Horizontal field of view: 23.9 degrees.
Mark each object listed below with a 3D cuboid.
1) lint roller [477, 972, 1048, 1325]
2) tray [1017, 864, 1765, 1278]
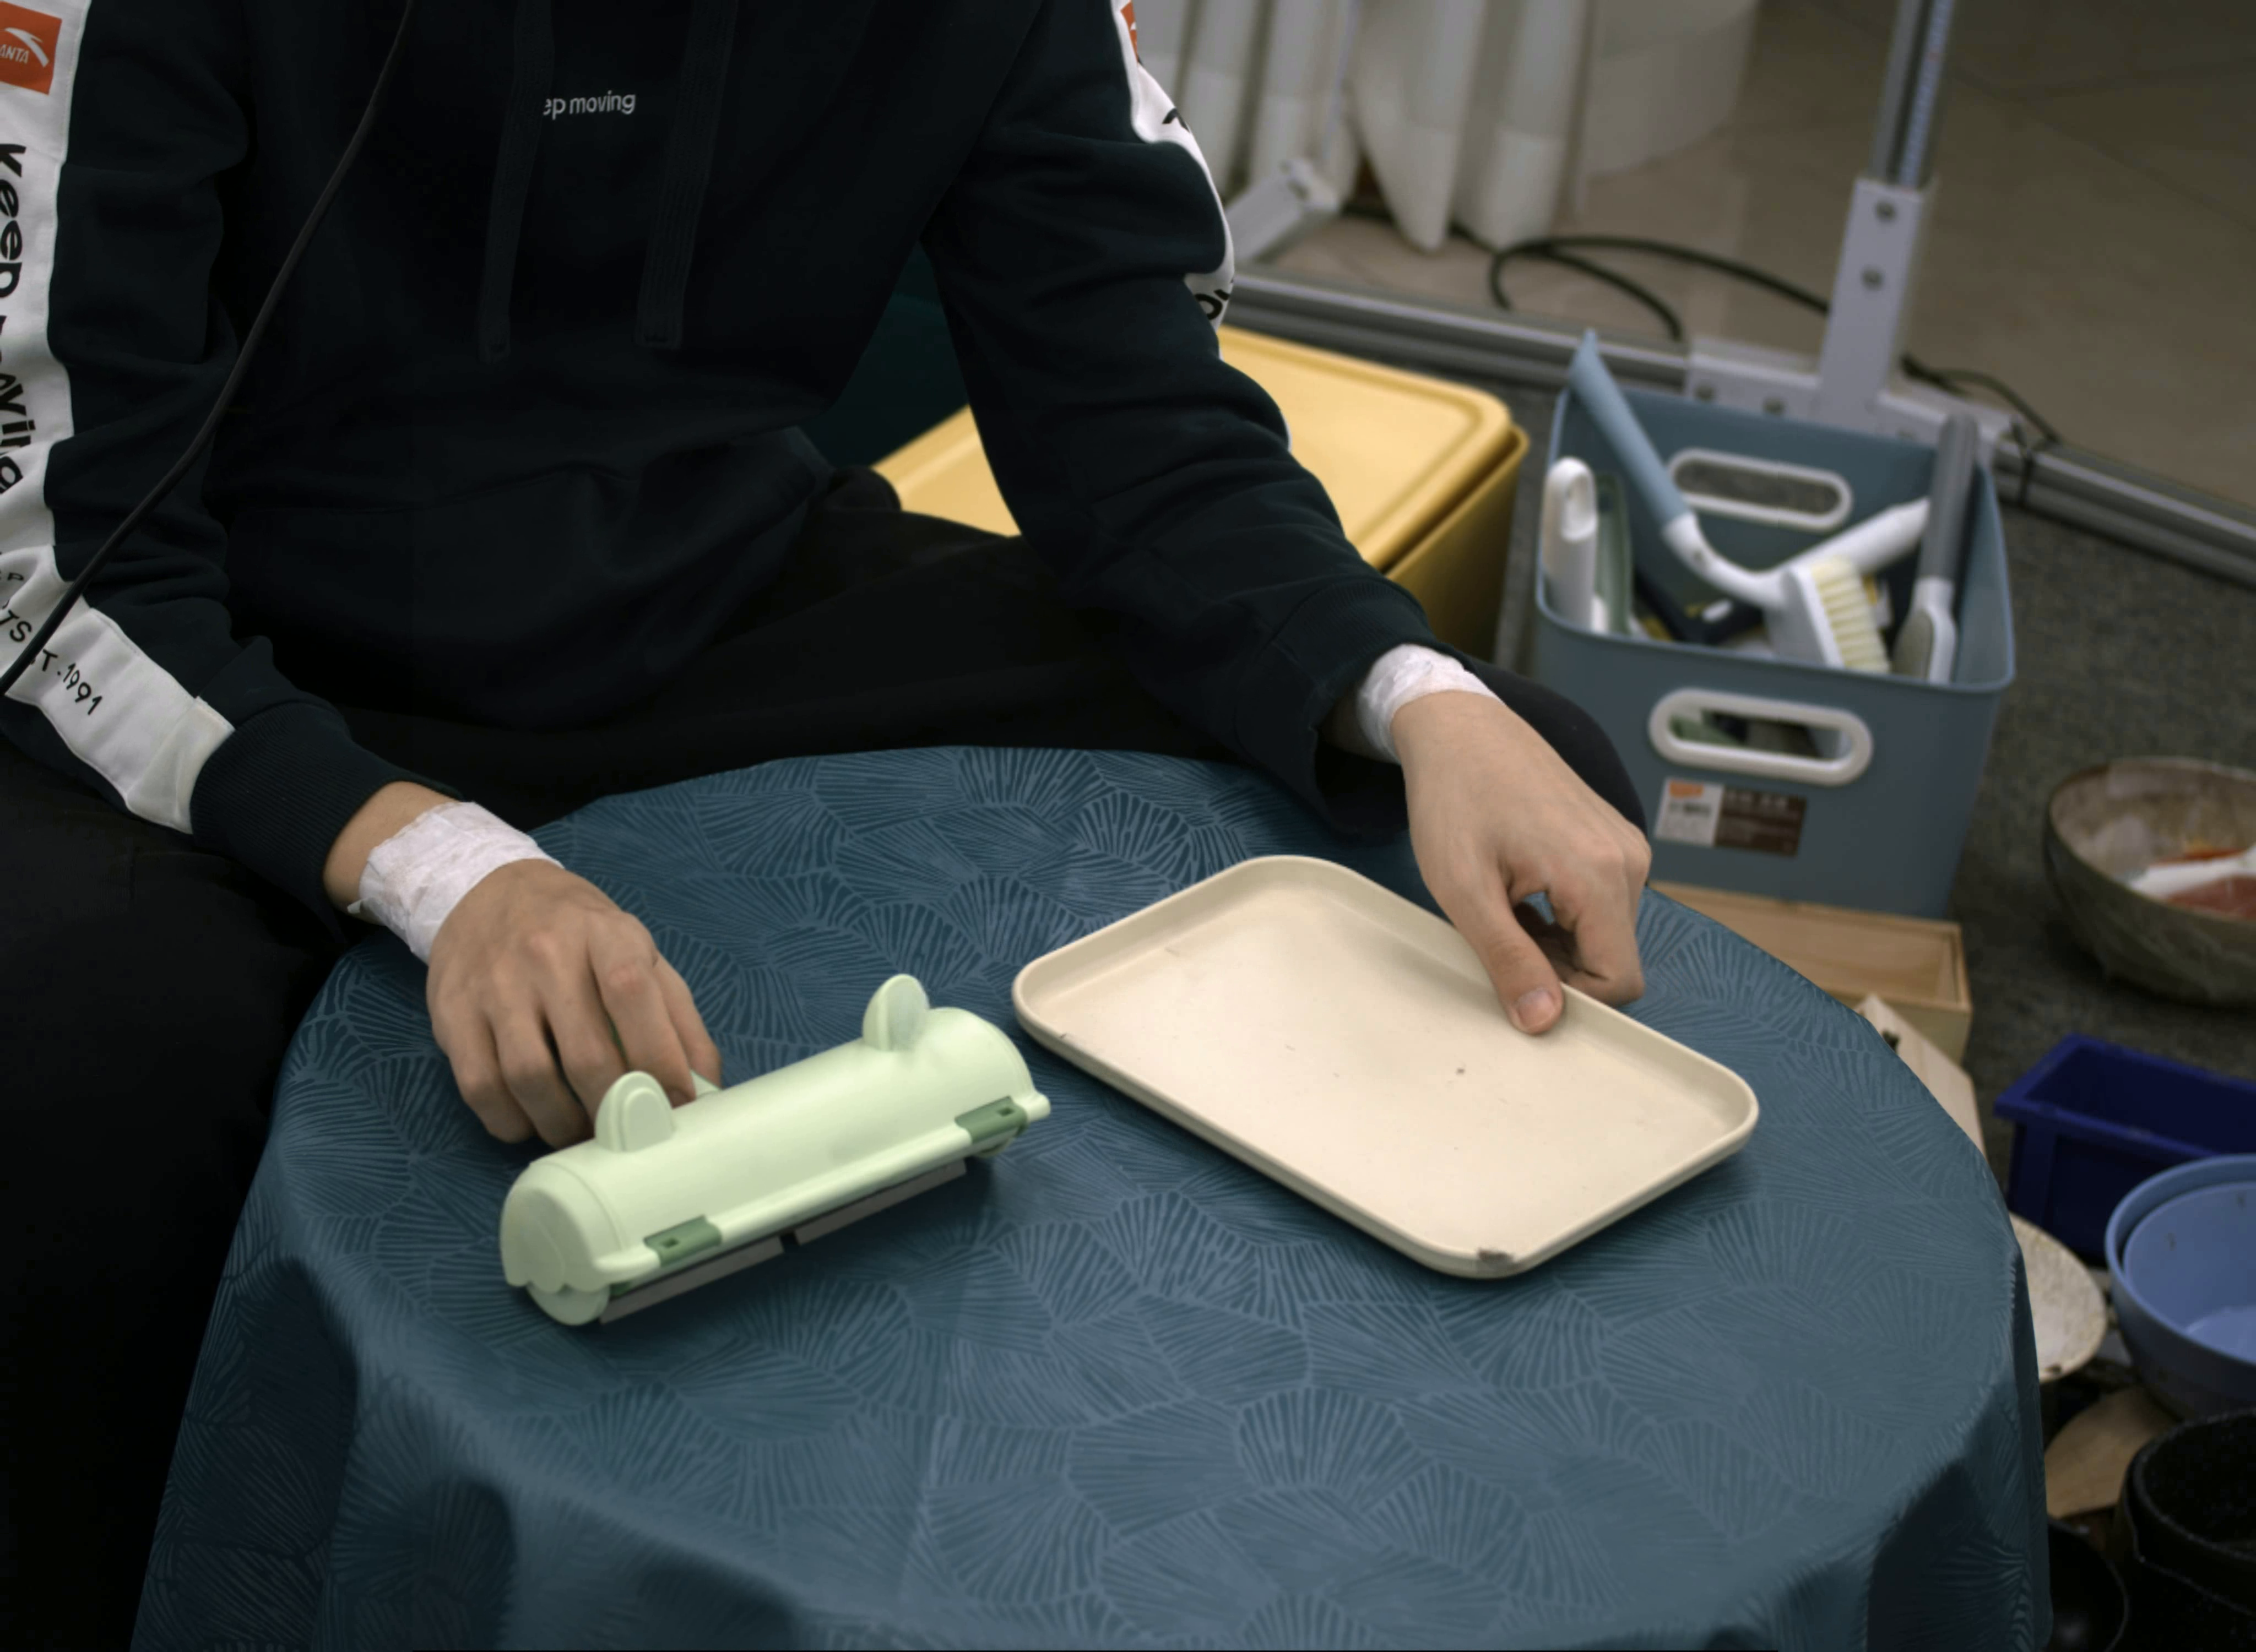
[{"bbox_3d":[-0.154,0.078,1.768,0.197,0.082,0.185,-19,41,-41],"label":"lint roller"},{"bbox_3d":[0.091,0.085,1.871,0.241,0.017,0.170,28,35,36],"label":"tray"}]
